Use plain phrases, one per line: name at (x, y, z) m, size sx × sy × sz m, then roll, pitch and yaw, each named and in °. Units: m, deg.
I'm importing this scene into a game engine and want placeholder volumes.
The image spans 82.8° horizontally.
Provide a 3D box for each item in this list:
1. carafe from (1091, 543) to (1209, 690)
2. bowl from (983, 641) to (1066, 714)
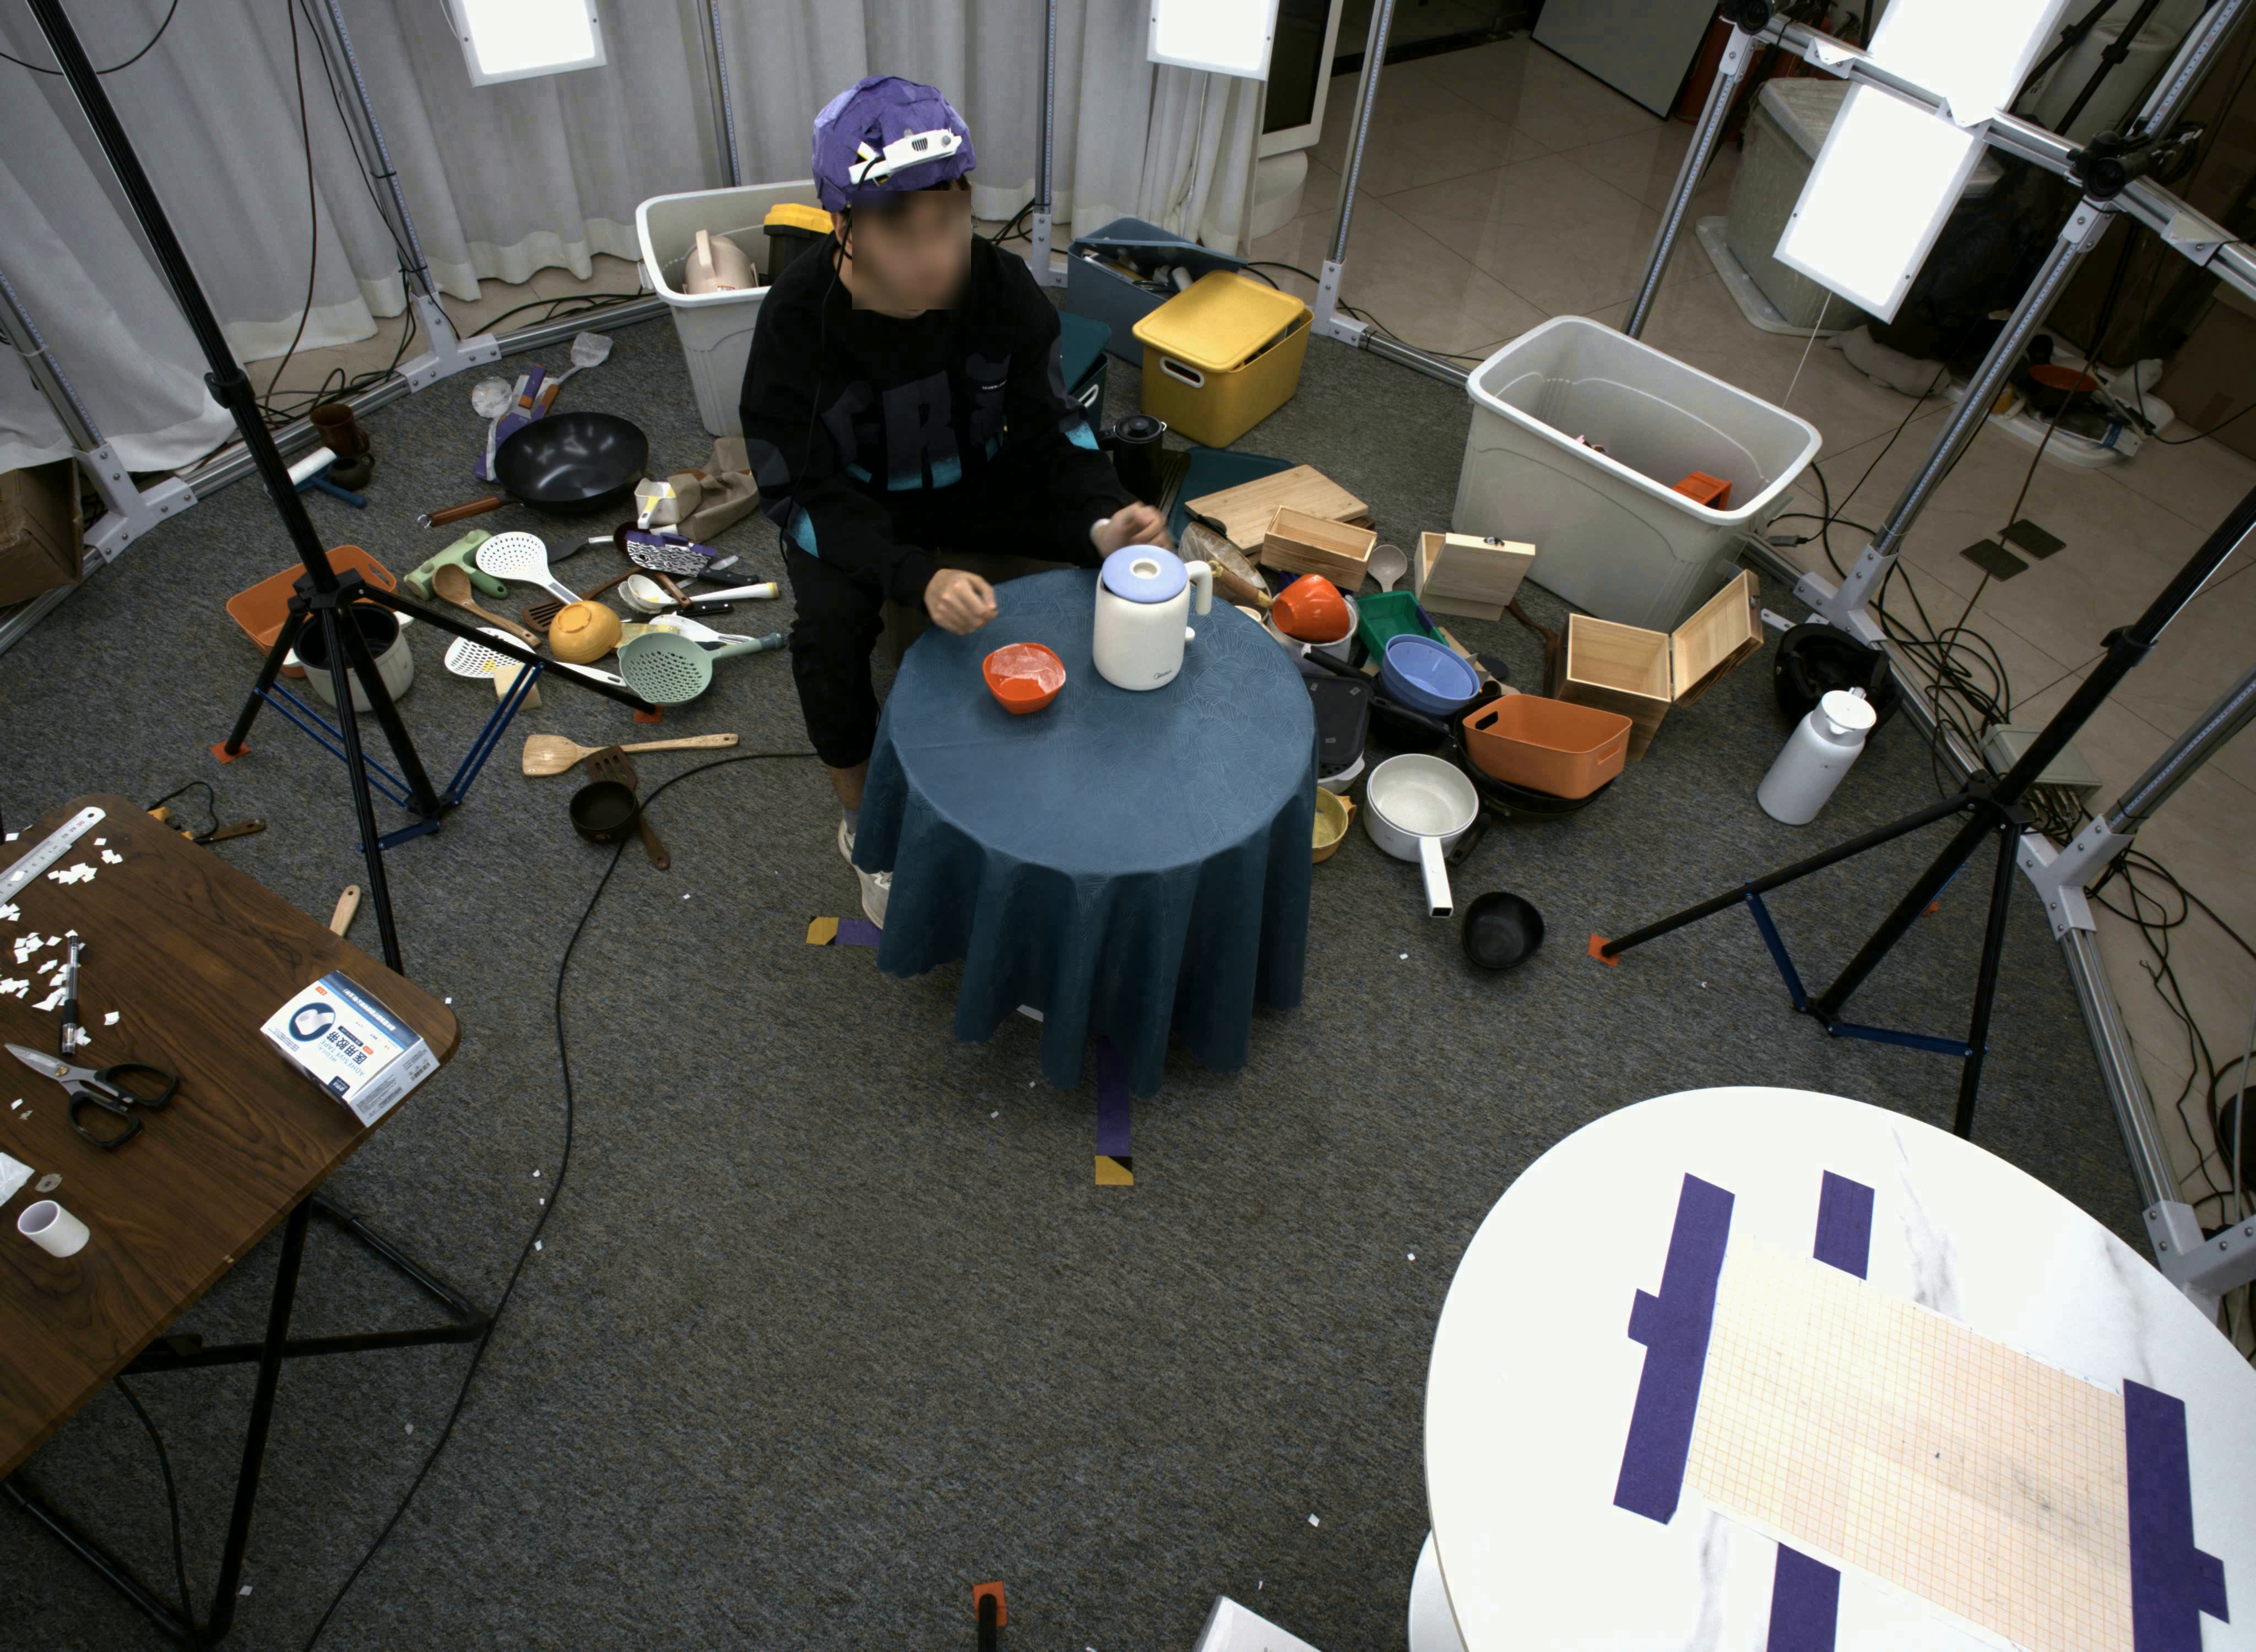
carafe at (0.037, -0.304, 1.824) m, size 0.192 × 0.178 × 0.135 m, roll -24°, pitch 56°, yaw -25°
bowl at (-0.145, -0.202, 1.799) m, size 0.119 × 0.050 × 0.122 m, roll 1°, pitch 52°, yaw -2°
